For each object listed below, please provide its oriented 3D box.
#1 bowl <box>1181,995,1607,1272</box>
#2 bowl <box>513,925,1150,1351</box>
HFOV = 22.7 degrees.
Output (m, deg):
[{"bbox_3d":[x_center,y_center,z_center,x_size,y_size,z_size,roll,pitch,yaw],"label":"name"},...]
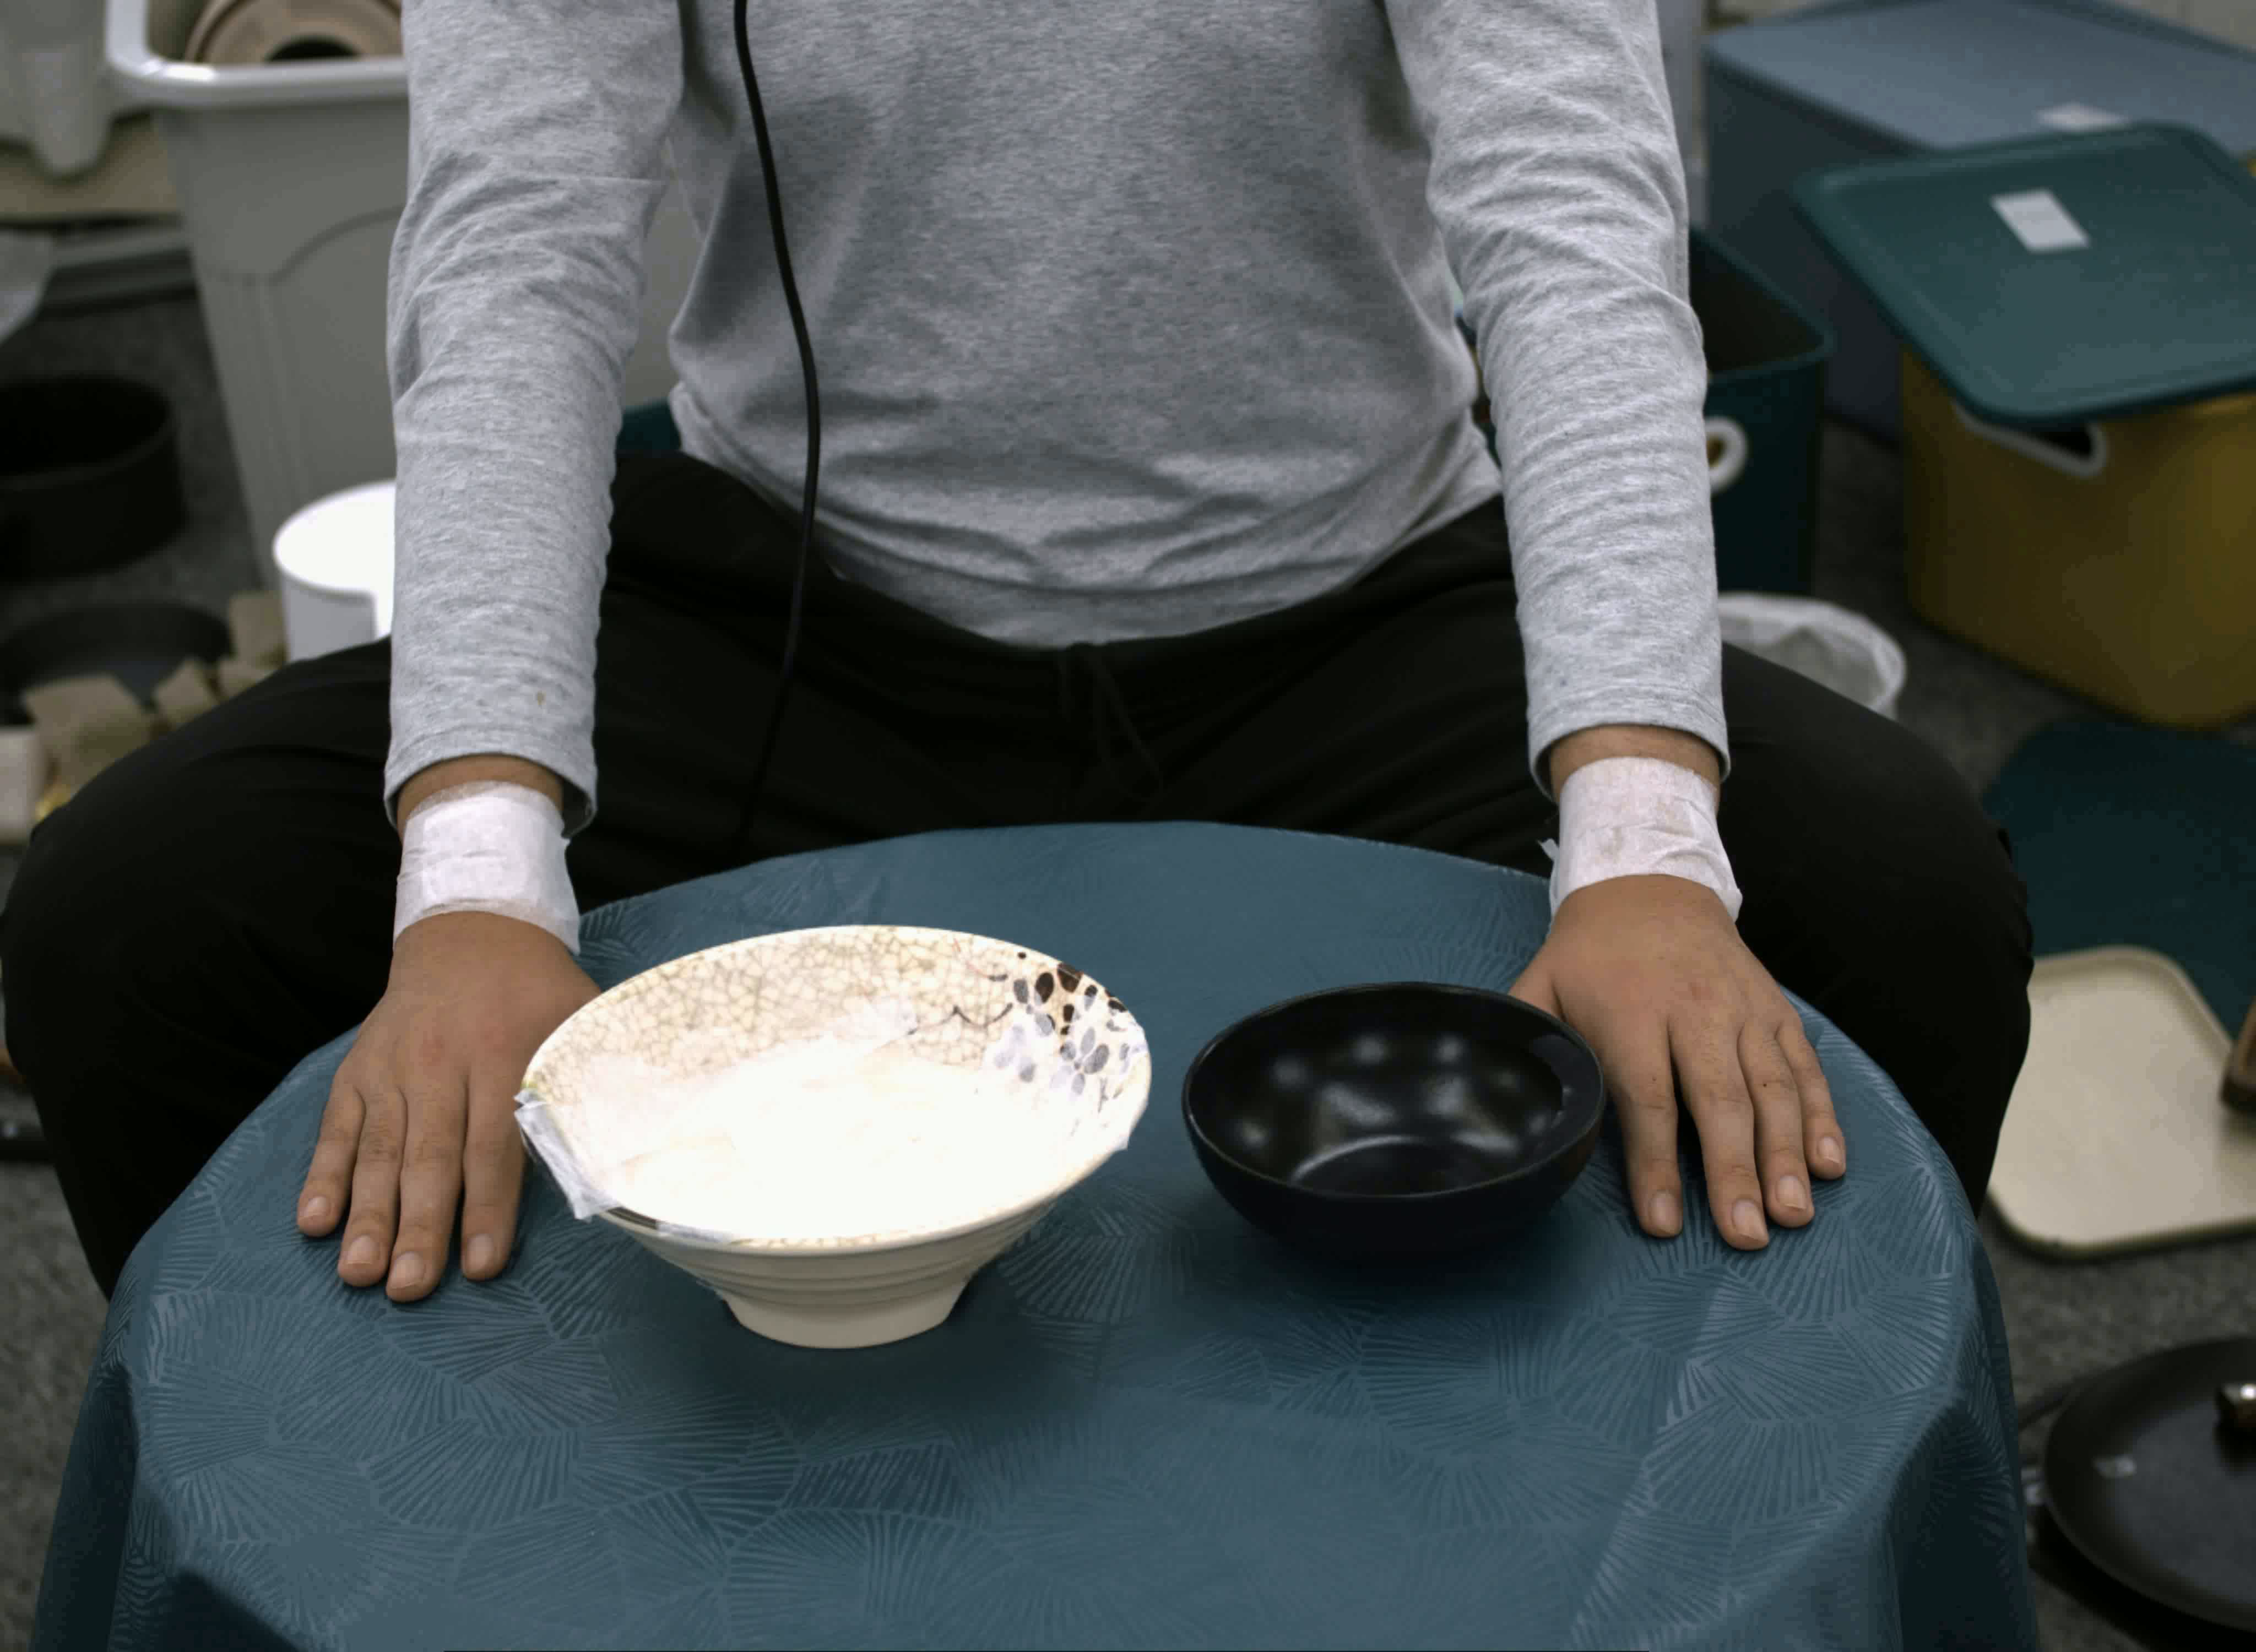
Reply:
[{"bbox_3d":[0.087,0.107,1.832,0.139,0.049,0.142,-1,24,1],"label":"bowl"},{"bbox_3d":[-0.093,0.113,1.803,0.203,0.077,0.207,-1,26,1],"label":"bowl"}]
